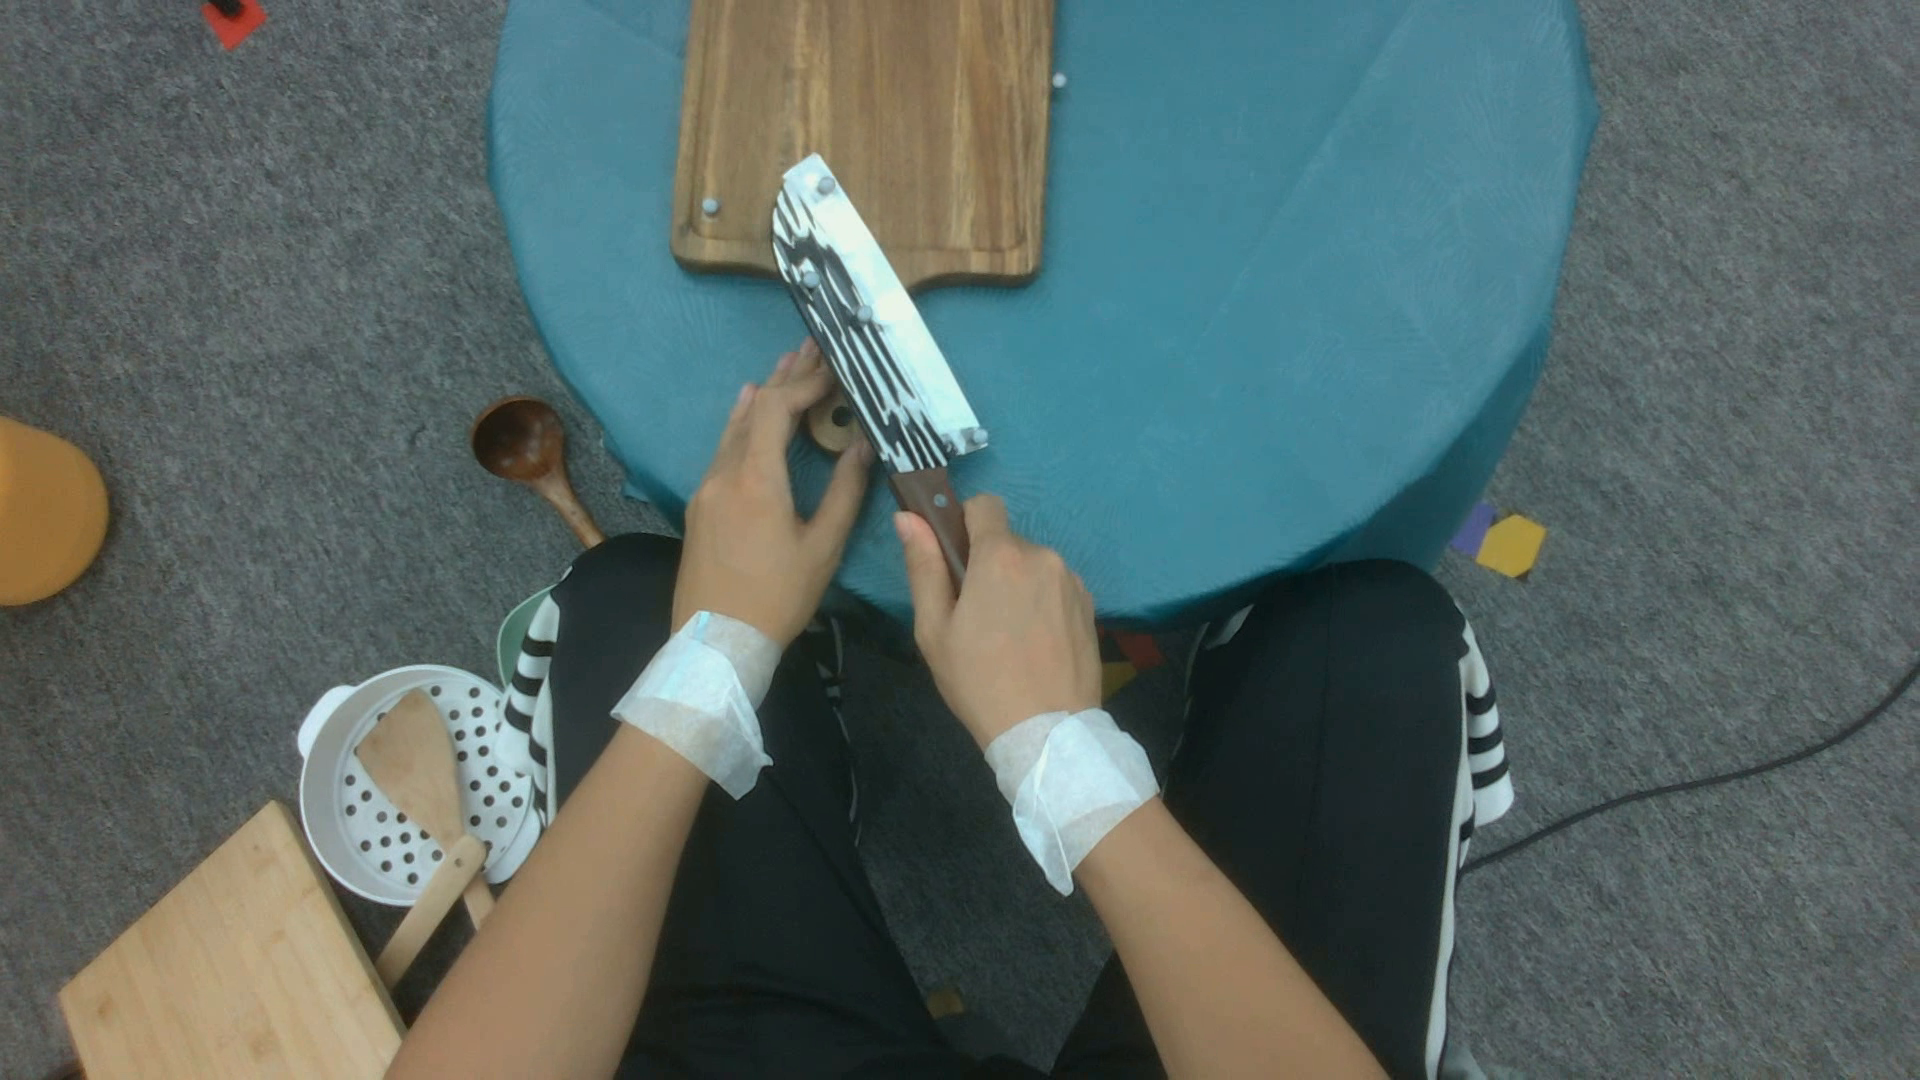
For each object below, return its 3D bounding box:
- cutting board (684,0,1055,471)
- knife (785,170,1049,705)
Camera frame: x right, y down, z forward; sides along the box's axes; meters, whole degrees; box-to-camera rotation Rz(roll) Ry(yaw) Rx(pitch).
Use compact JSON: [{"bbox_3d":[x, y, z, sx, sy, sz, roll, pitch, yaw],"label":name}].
[{"bbox_3d":[-0.049,-0.211,0.758,0.201,0.023,0.353,2,79,2],"label":"cutting board"},{"bbox_3d":[-0.017,-0.059,0.704,0.068,0.024,0.300,-22,81,-37],"label":"knife"}]
